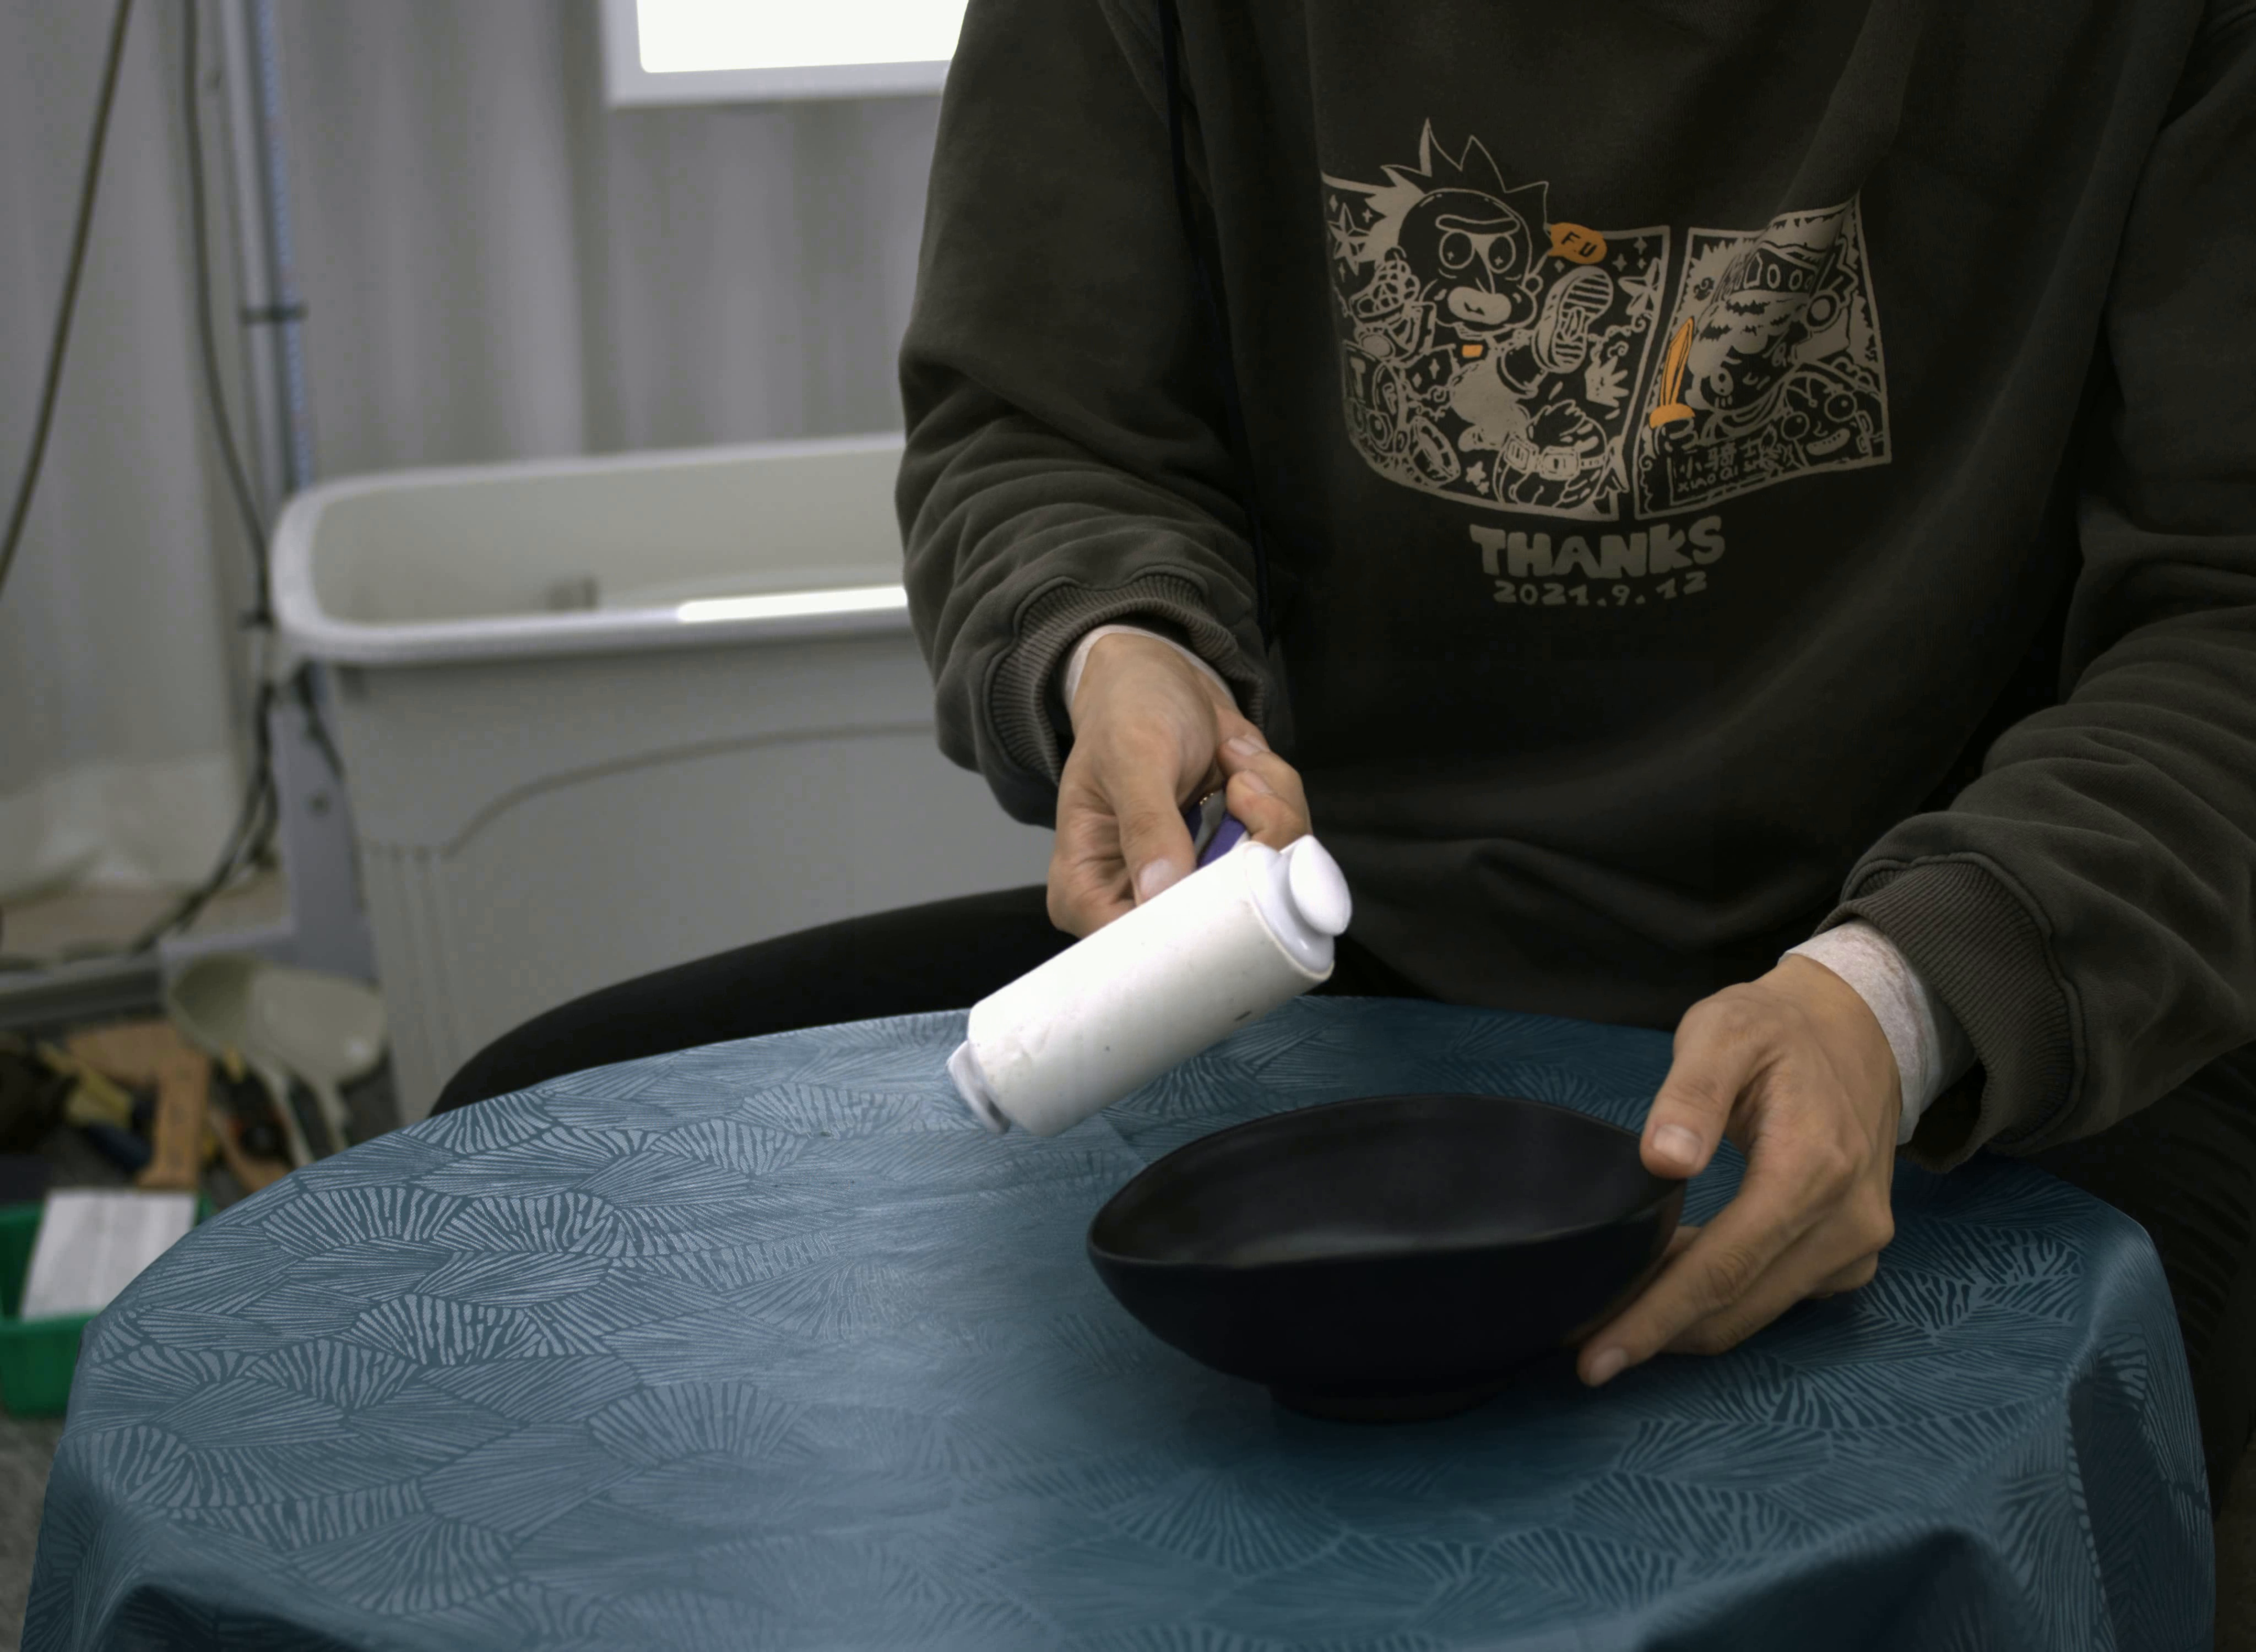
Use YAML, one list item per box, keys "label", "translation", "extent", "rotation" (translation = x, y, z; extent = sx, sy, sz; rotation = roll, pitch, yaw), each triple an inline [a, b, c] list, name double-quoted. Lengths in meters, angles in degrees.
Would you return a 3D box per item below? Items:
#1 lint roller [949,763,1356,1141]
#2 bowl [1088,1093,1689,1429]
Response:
- label: "lint roller"
  translation: [0.013, 0.016, 1.650]
  extent: [0.132, 0.050, 0.183]
  rotation: [-31, 23, 22]
- label: "bowl"
  translation: [0.075, 0.128, 1.537]
  extent: [0.169, 0.066, 0.138]
  rotation: [-6, 14, -5]
